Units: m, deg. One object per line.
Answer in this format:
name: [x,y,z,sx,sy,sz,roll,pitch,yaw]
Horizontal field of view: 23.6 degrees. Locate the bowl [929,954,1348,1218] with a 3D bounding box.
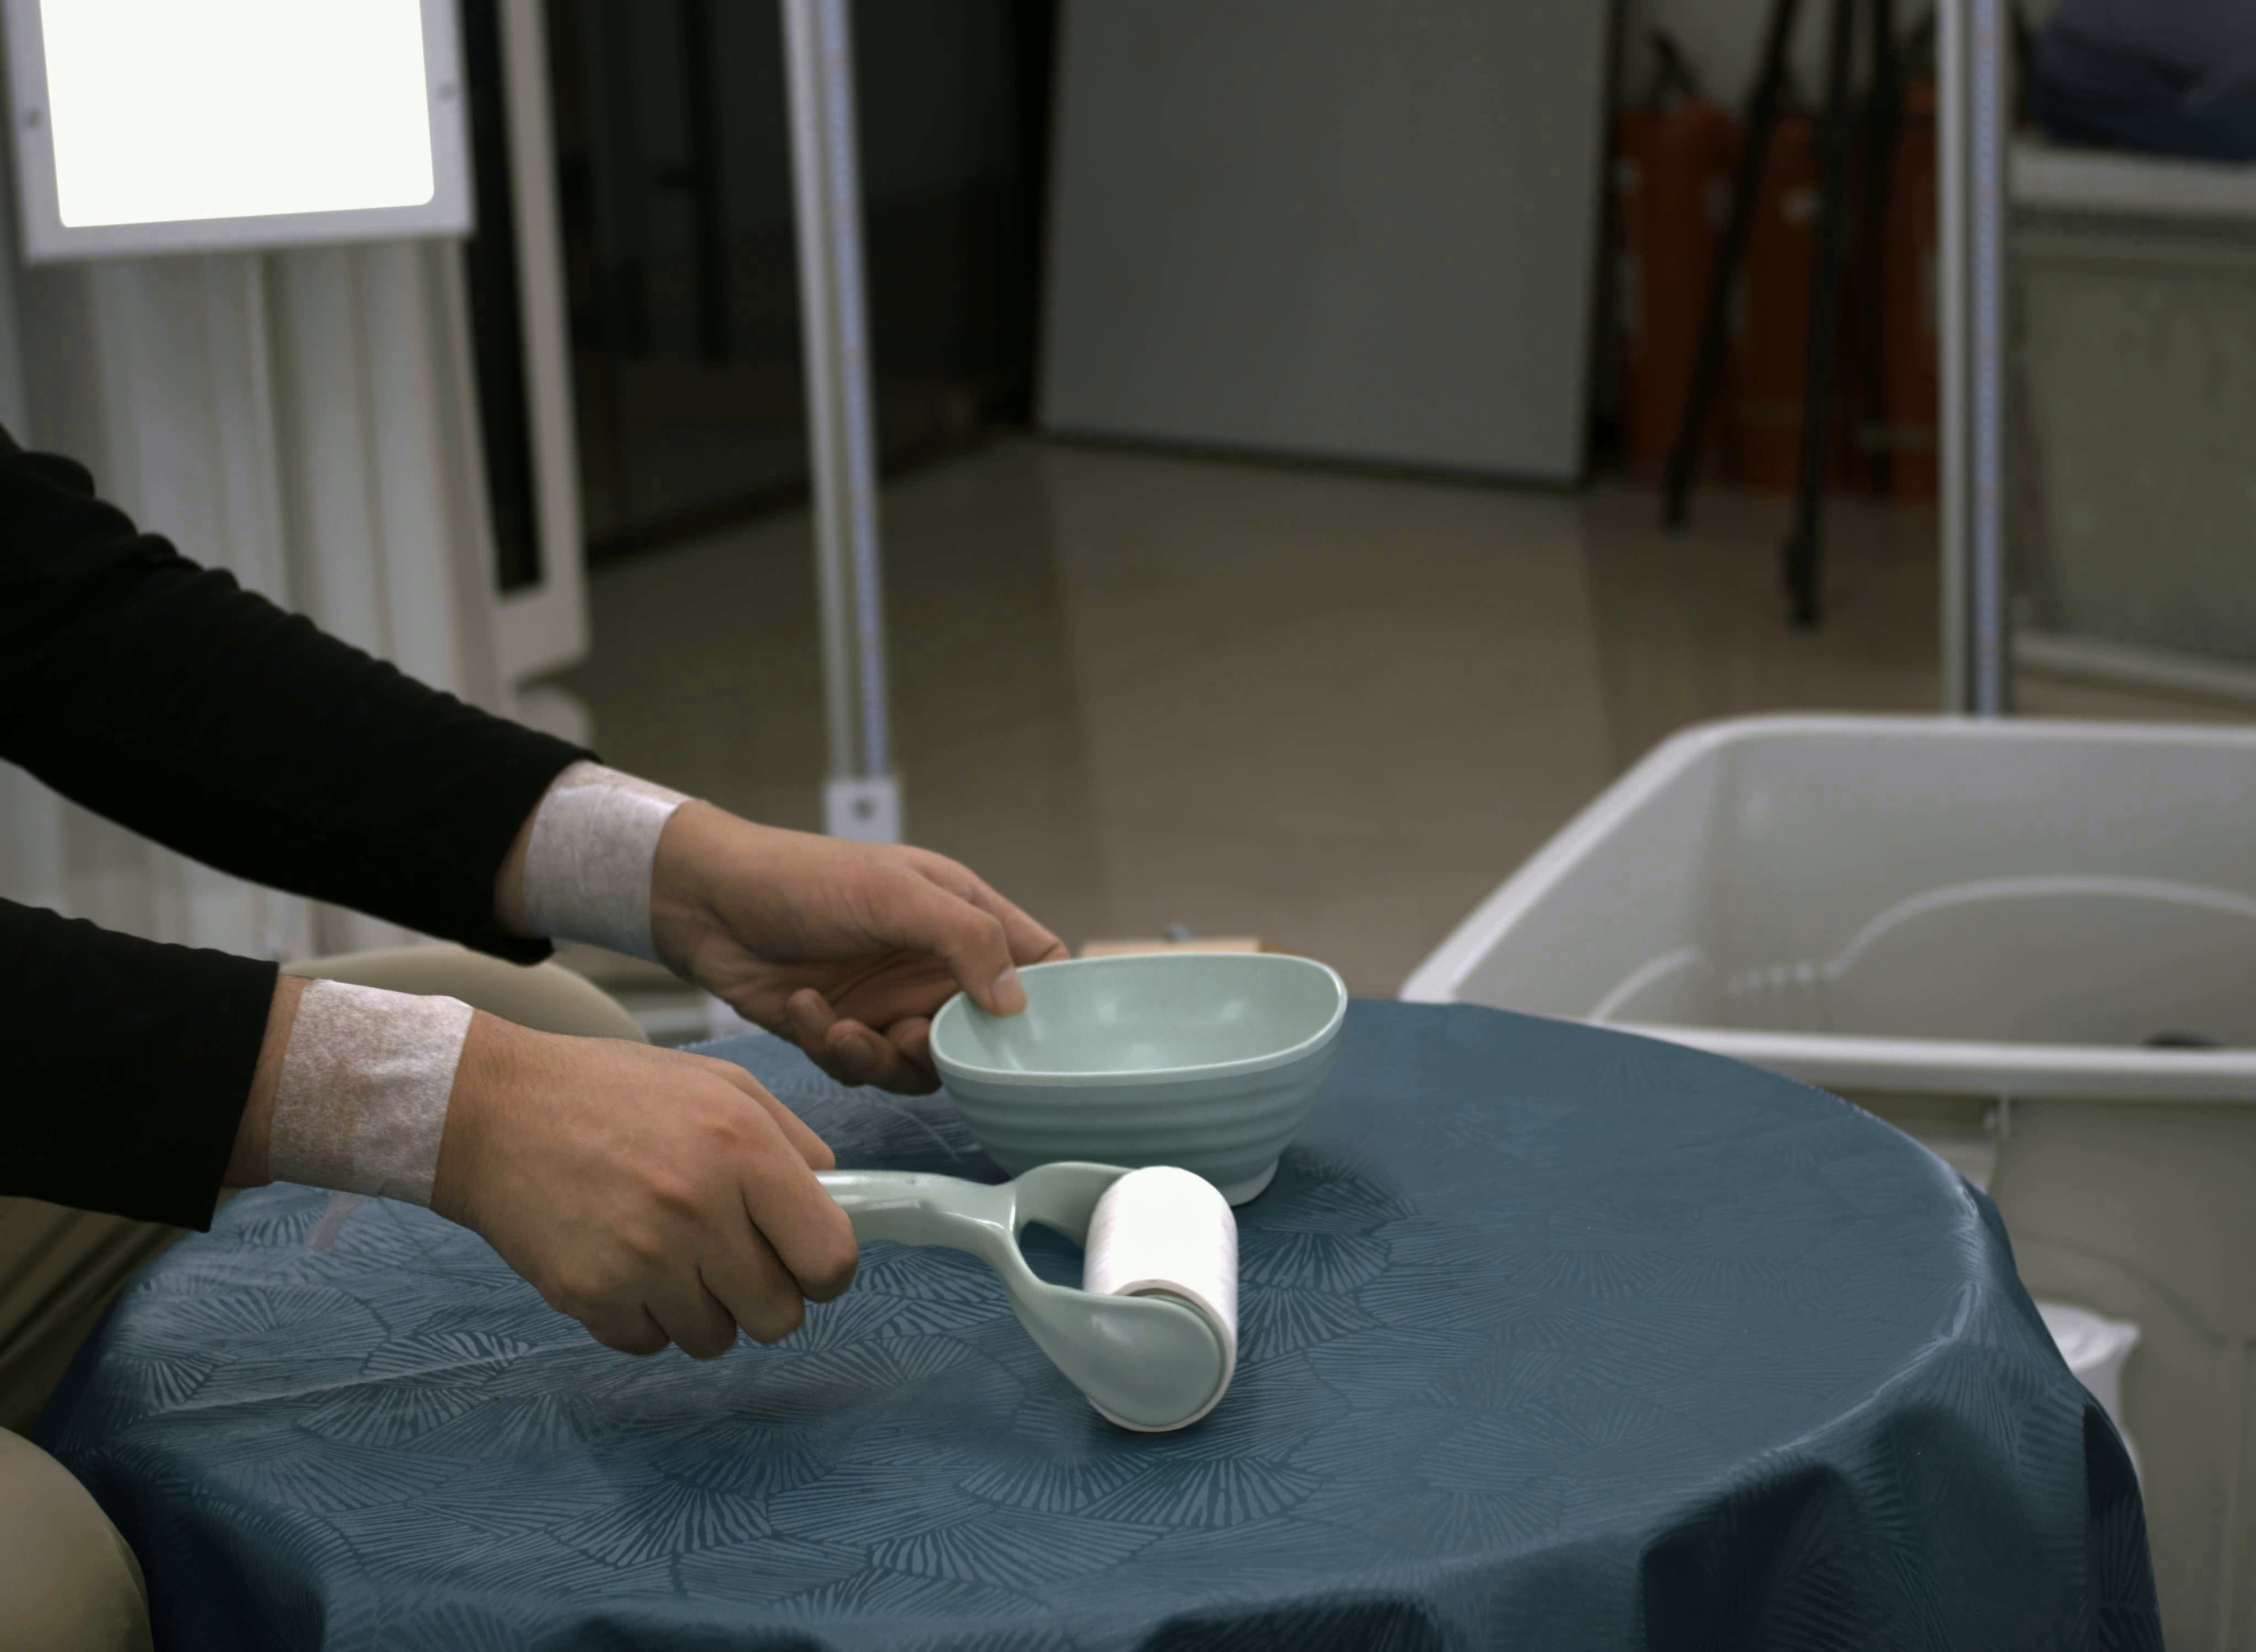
bowl: [0.005,0.090,1.778,0.149,0.059,0.152,-4,15,0]

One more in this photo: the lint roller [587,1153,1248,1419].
lint roller: [-0.061,0.126,1.599,0.195,0.049,0.117,8,16,0]
